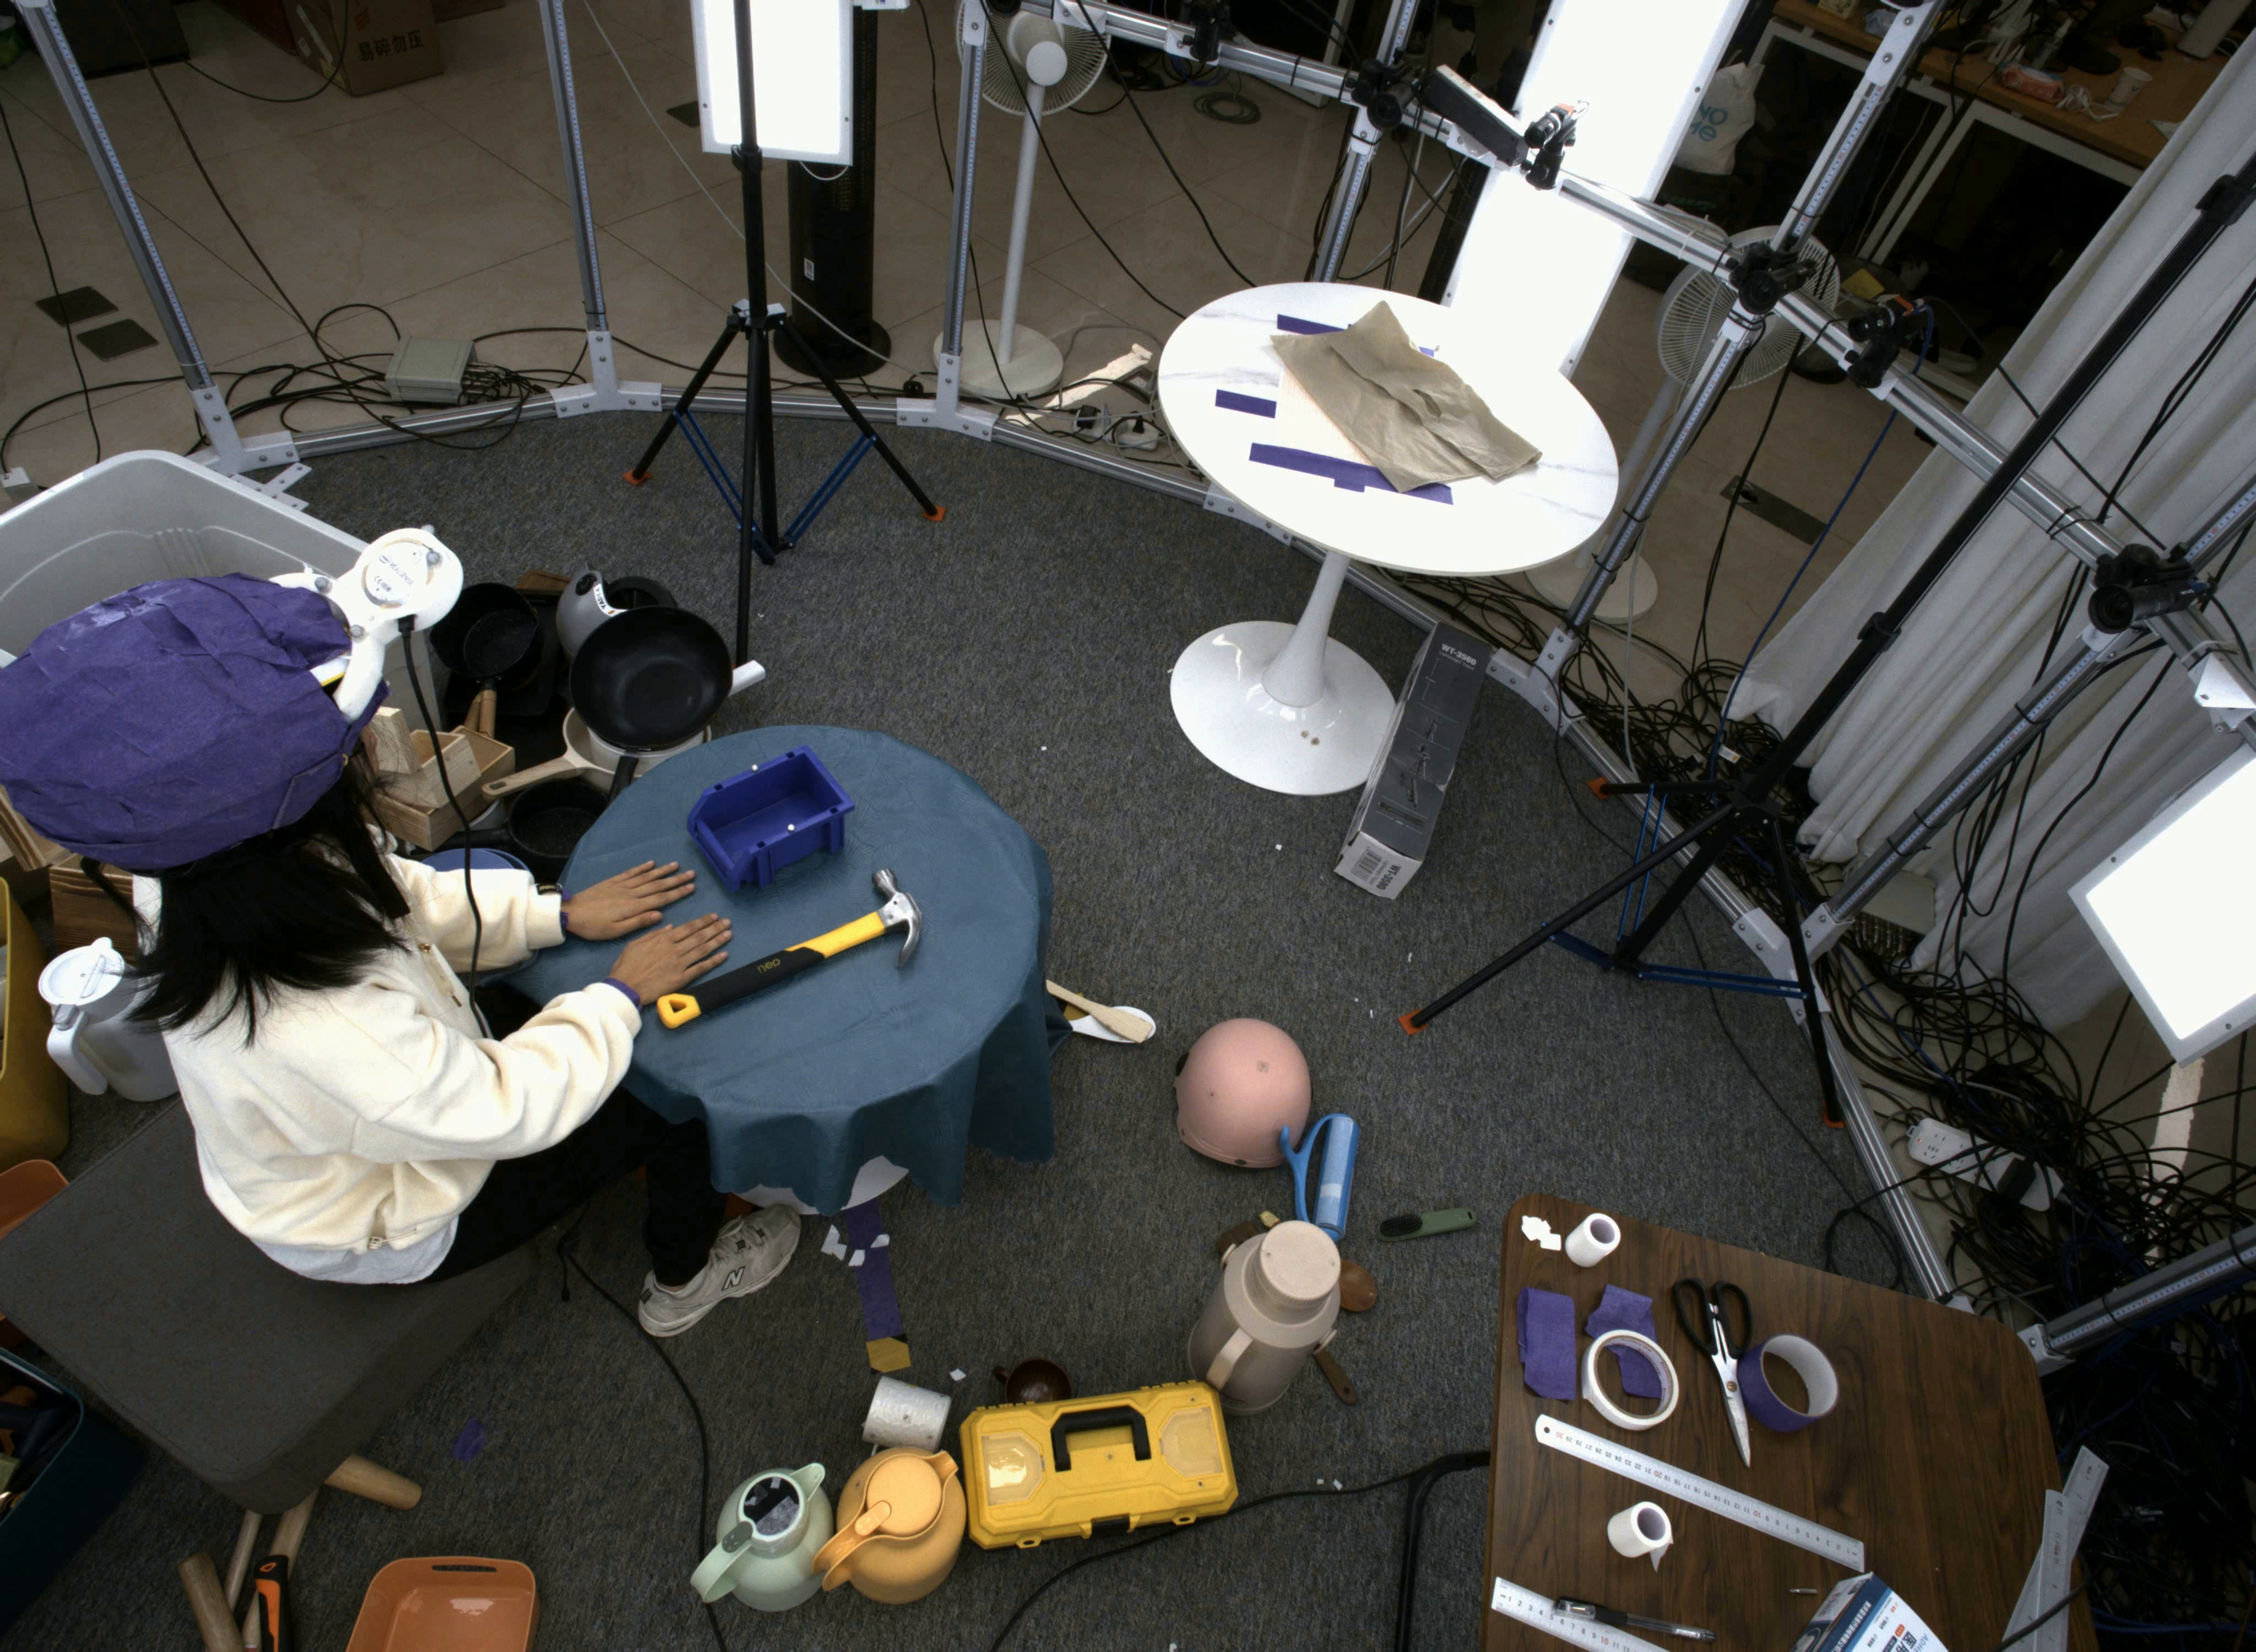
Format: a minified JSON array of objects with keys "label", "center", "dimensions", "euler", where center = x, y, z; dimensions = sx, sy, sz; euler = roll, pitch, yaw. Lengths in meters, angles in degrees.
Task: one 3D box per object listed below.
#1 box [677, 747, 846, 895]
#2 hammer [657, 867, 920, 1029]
[{"label":"box","center":[-0.469,-0.003,1.657],"dimensions":[0.180,0.083,0.121],"euler":[-27,64,-32]},{"label":"hammer","center":[-0.410,0.159,1.581],"dimensions":[0.340,0.033,0.128],"euler":[-23,64,-28]}]
